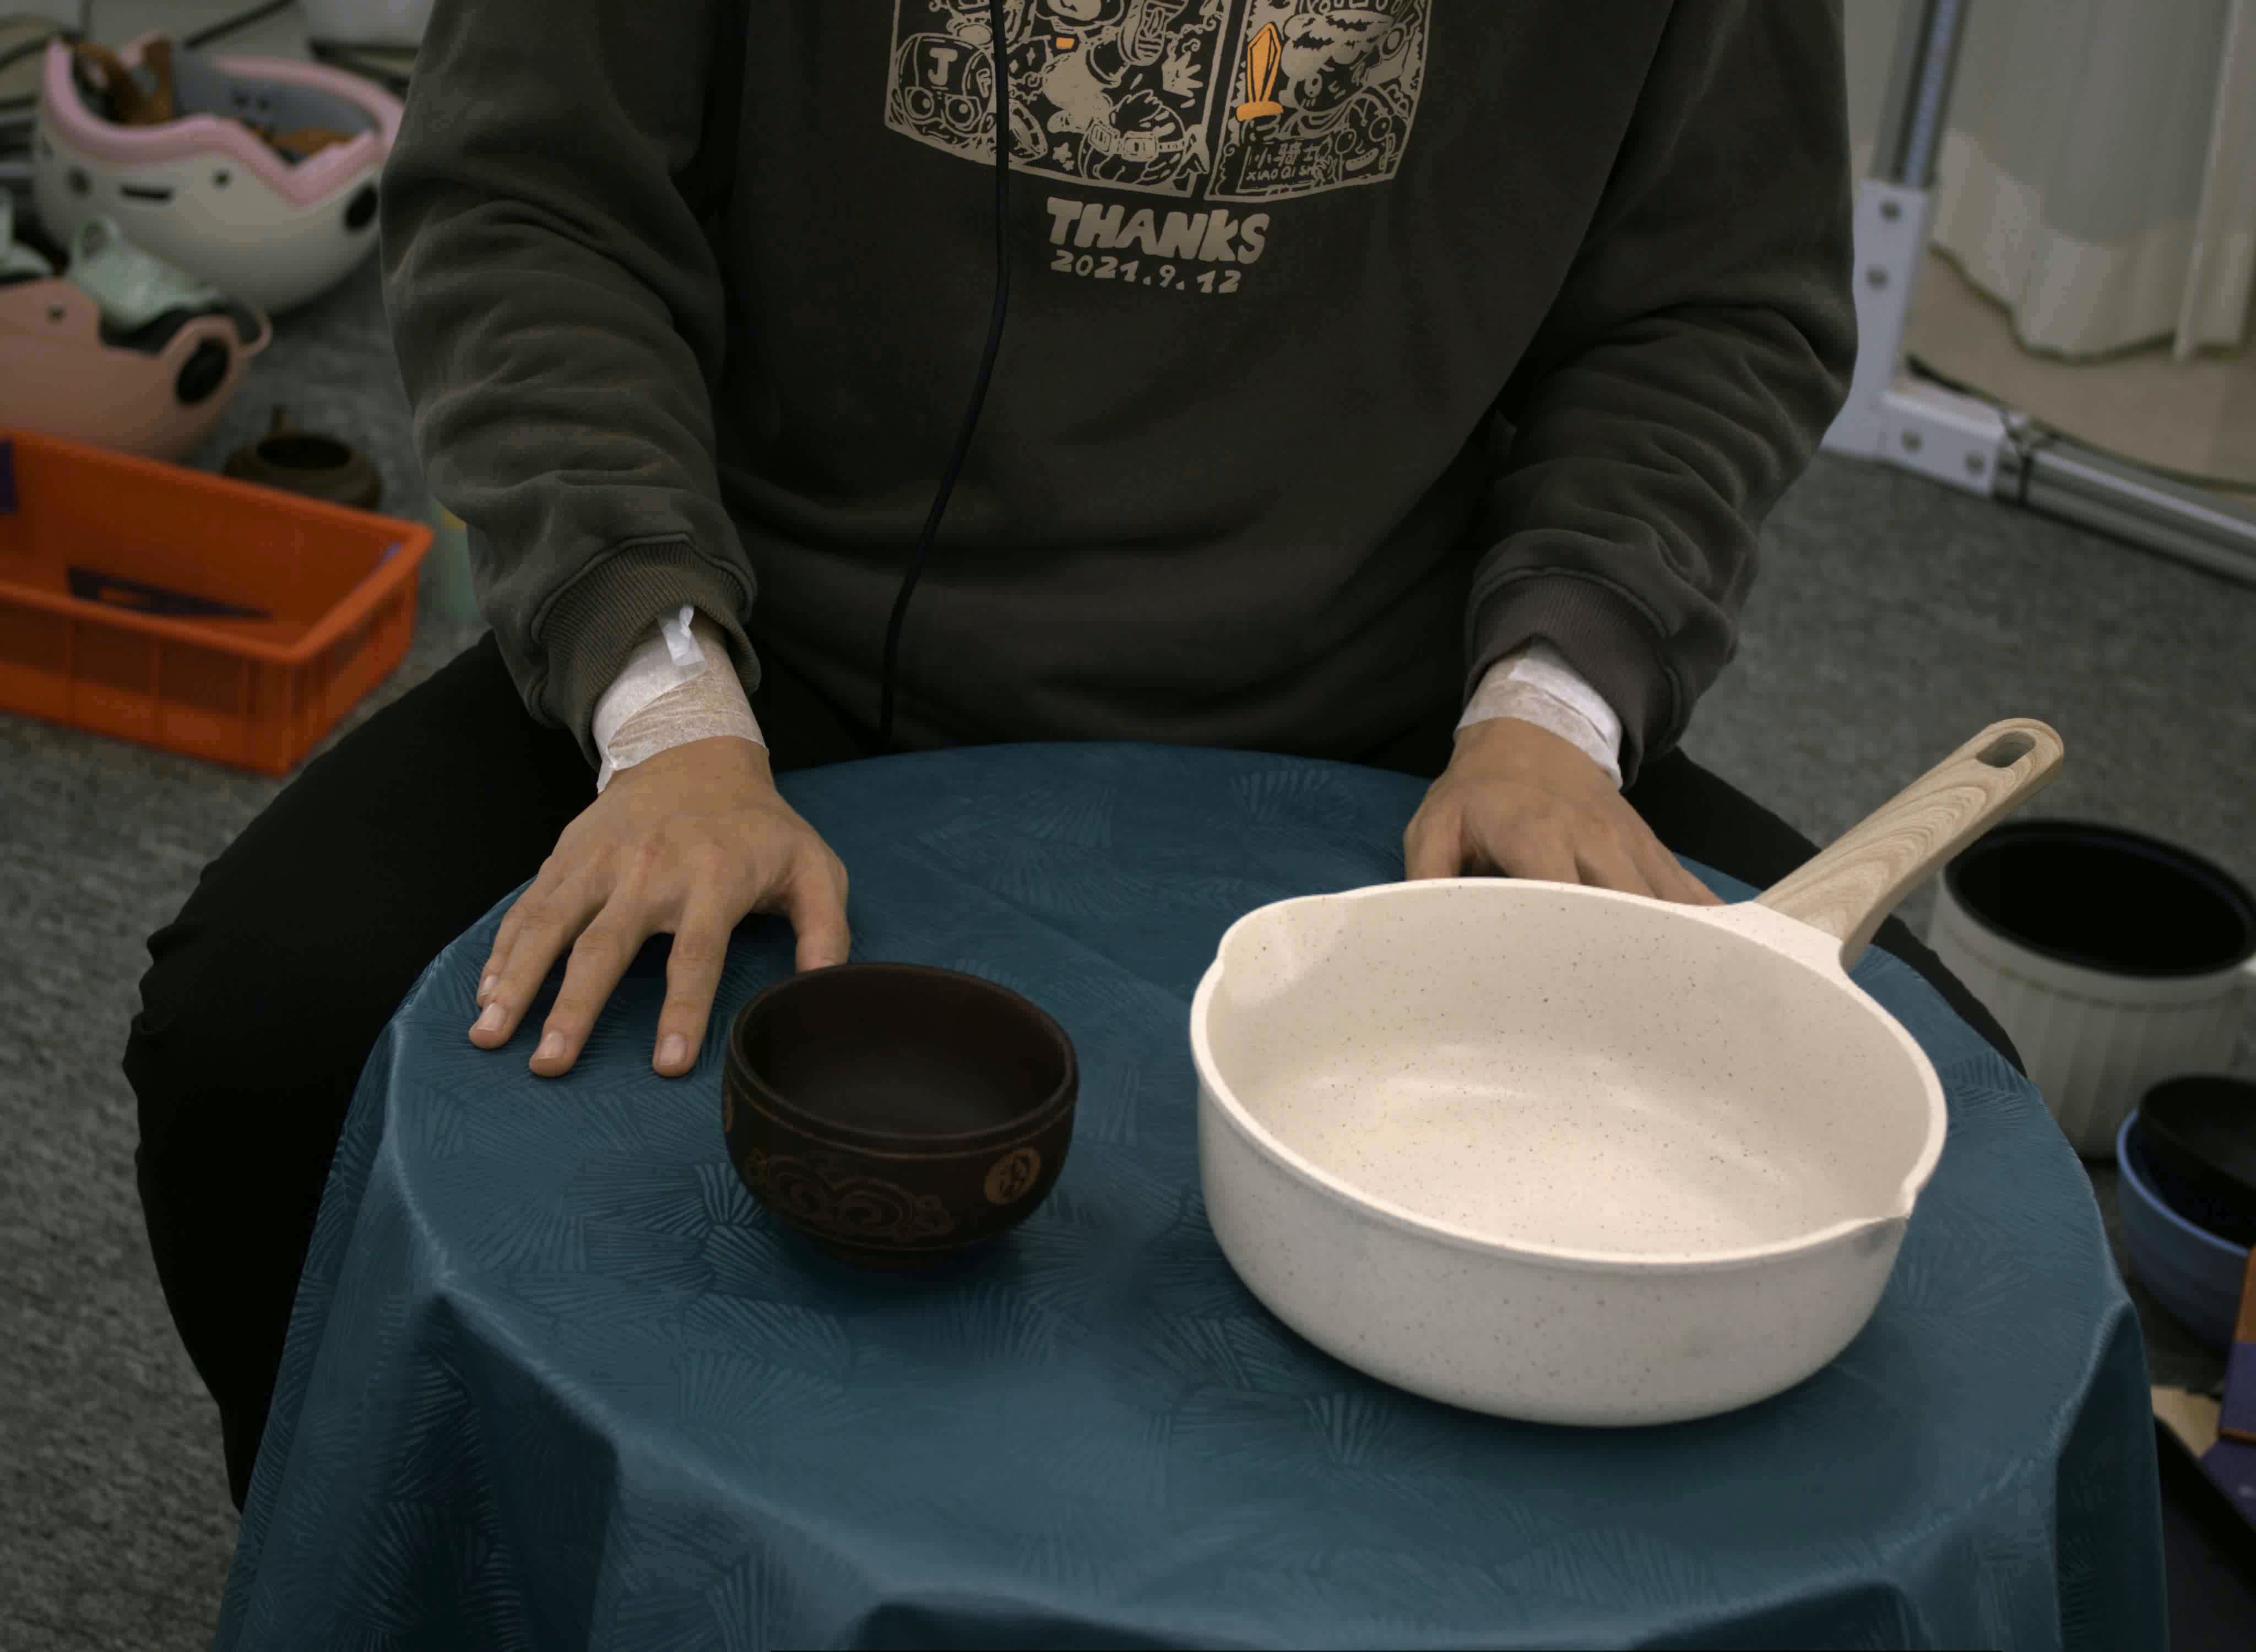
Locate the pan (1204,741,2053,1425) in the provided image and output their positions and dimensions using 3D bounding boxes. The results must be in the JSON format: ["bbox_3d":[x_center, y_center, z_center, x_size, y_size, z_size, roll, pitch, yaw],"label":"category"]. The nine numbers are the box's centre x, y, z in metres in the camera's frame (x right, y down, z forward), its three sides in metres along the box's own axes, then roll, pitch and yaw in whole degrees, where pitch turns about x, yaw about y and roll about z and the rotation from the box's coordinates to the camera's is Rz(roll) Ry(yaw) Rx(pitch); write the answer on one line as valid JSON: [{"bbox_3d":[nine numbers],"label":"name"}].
[{"bbox_3d":[0.202,0.080,1.829,0.265,0.101,0.433,22,30,32],"label":"pan"}]

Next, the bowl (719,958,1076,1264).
[{"bbox_3d":[-0.077,0.100,1.752,0.117,0.069,0.119,4,26,-2],"label":"bowl"}]
